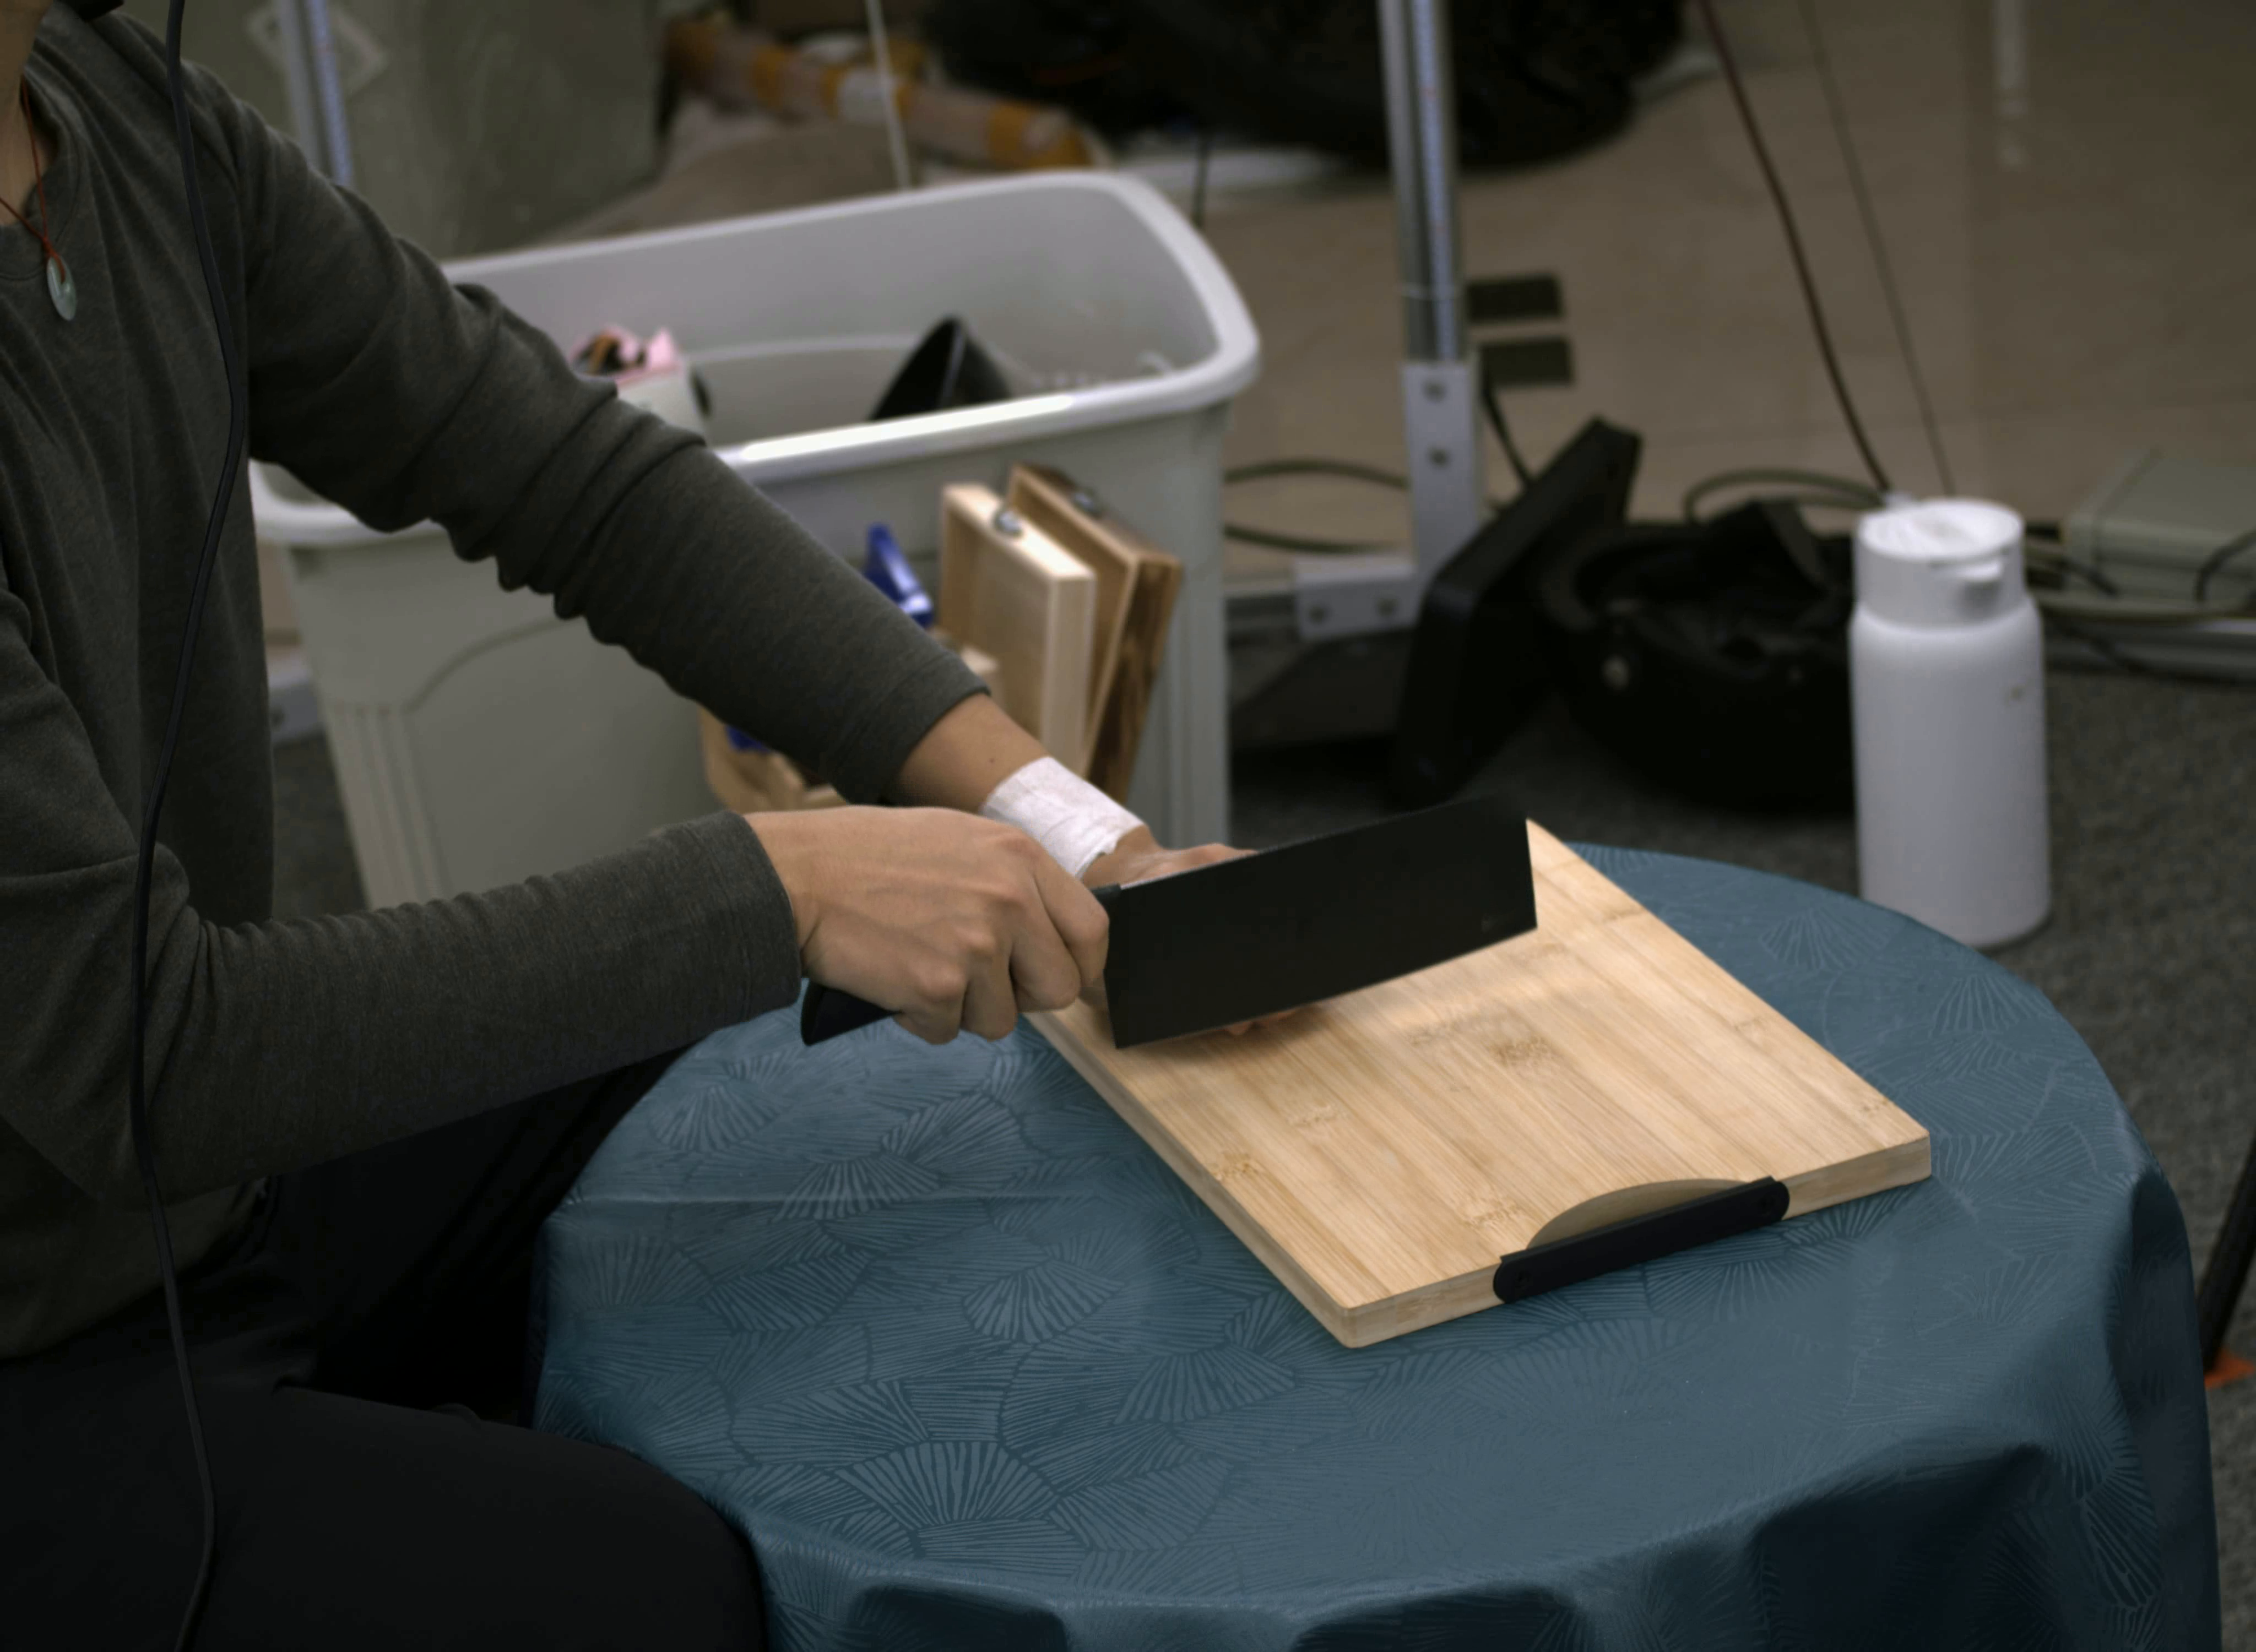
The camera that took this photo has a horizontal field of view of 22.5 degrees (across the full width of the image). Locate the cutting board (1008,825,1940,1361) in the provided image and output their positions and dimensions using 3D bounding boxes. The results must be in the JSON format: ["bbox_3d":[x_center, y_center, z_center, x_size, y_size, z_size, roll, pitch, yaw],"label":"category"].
[{"bbox_3d":[0.125,0.095,2.197,0.250,0.024,0.344,-16,26,-18],"label":"cutting board"}]

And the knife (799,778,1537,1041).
[{"bbox_3d":[0.018,0.042,2.172,0.301,0.082,0.020,-10,18,-18],"label":"knife"}]
